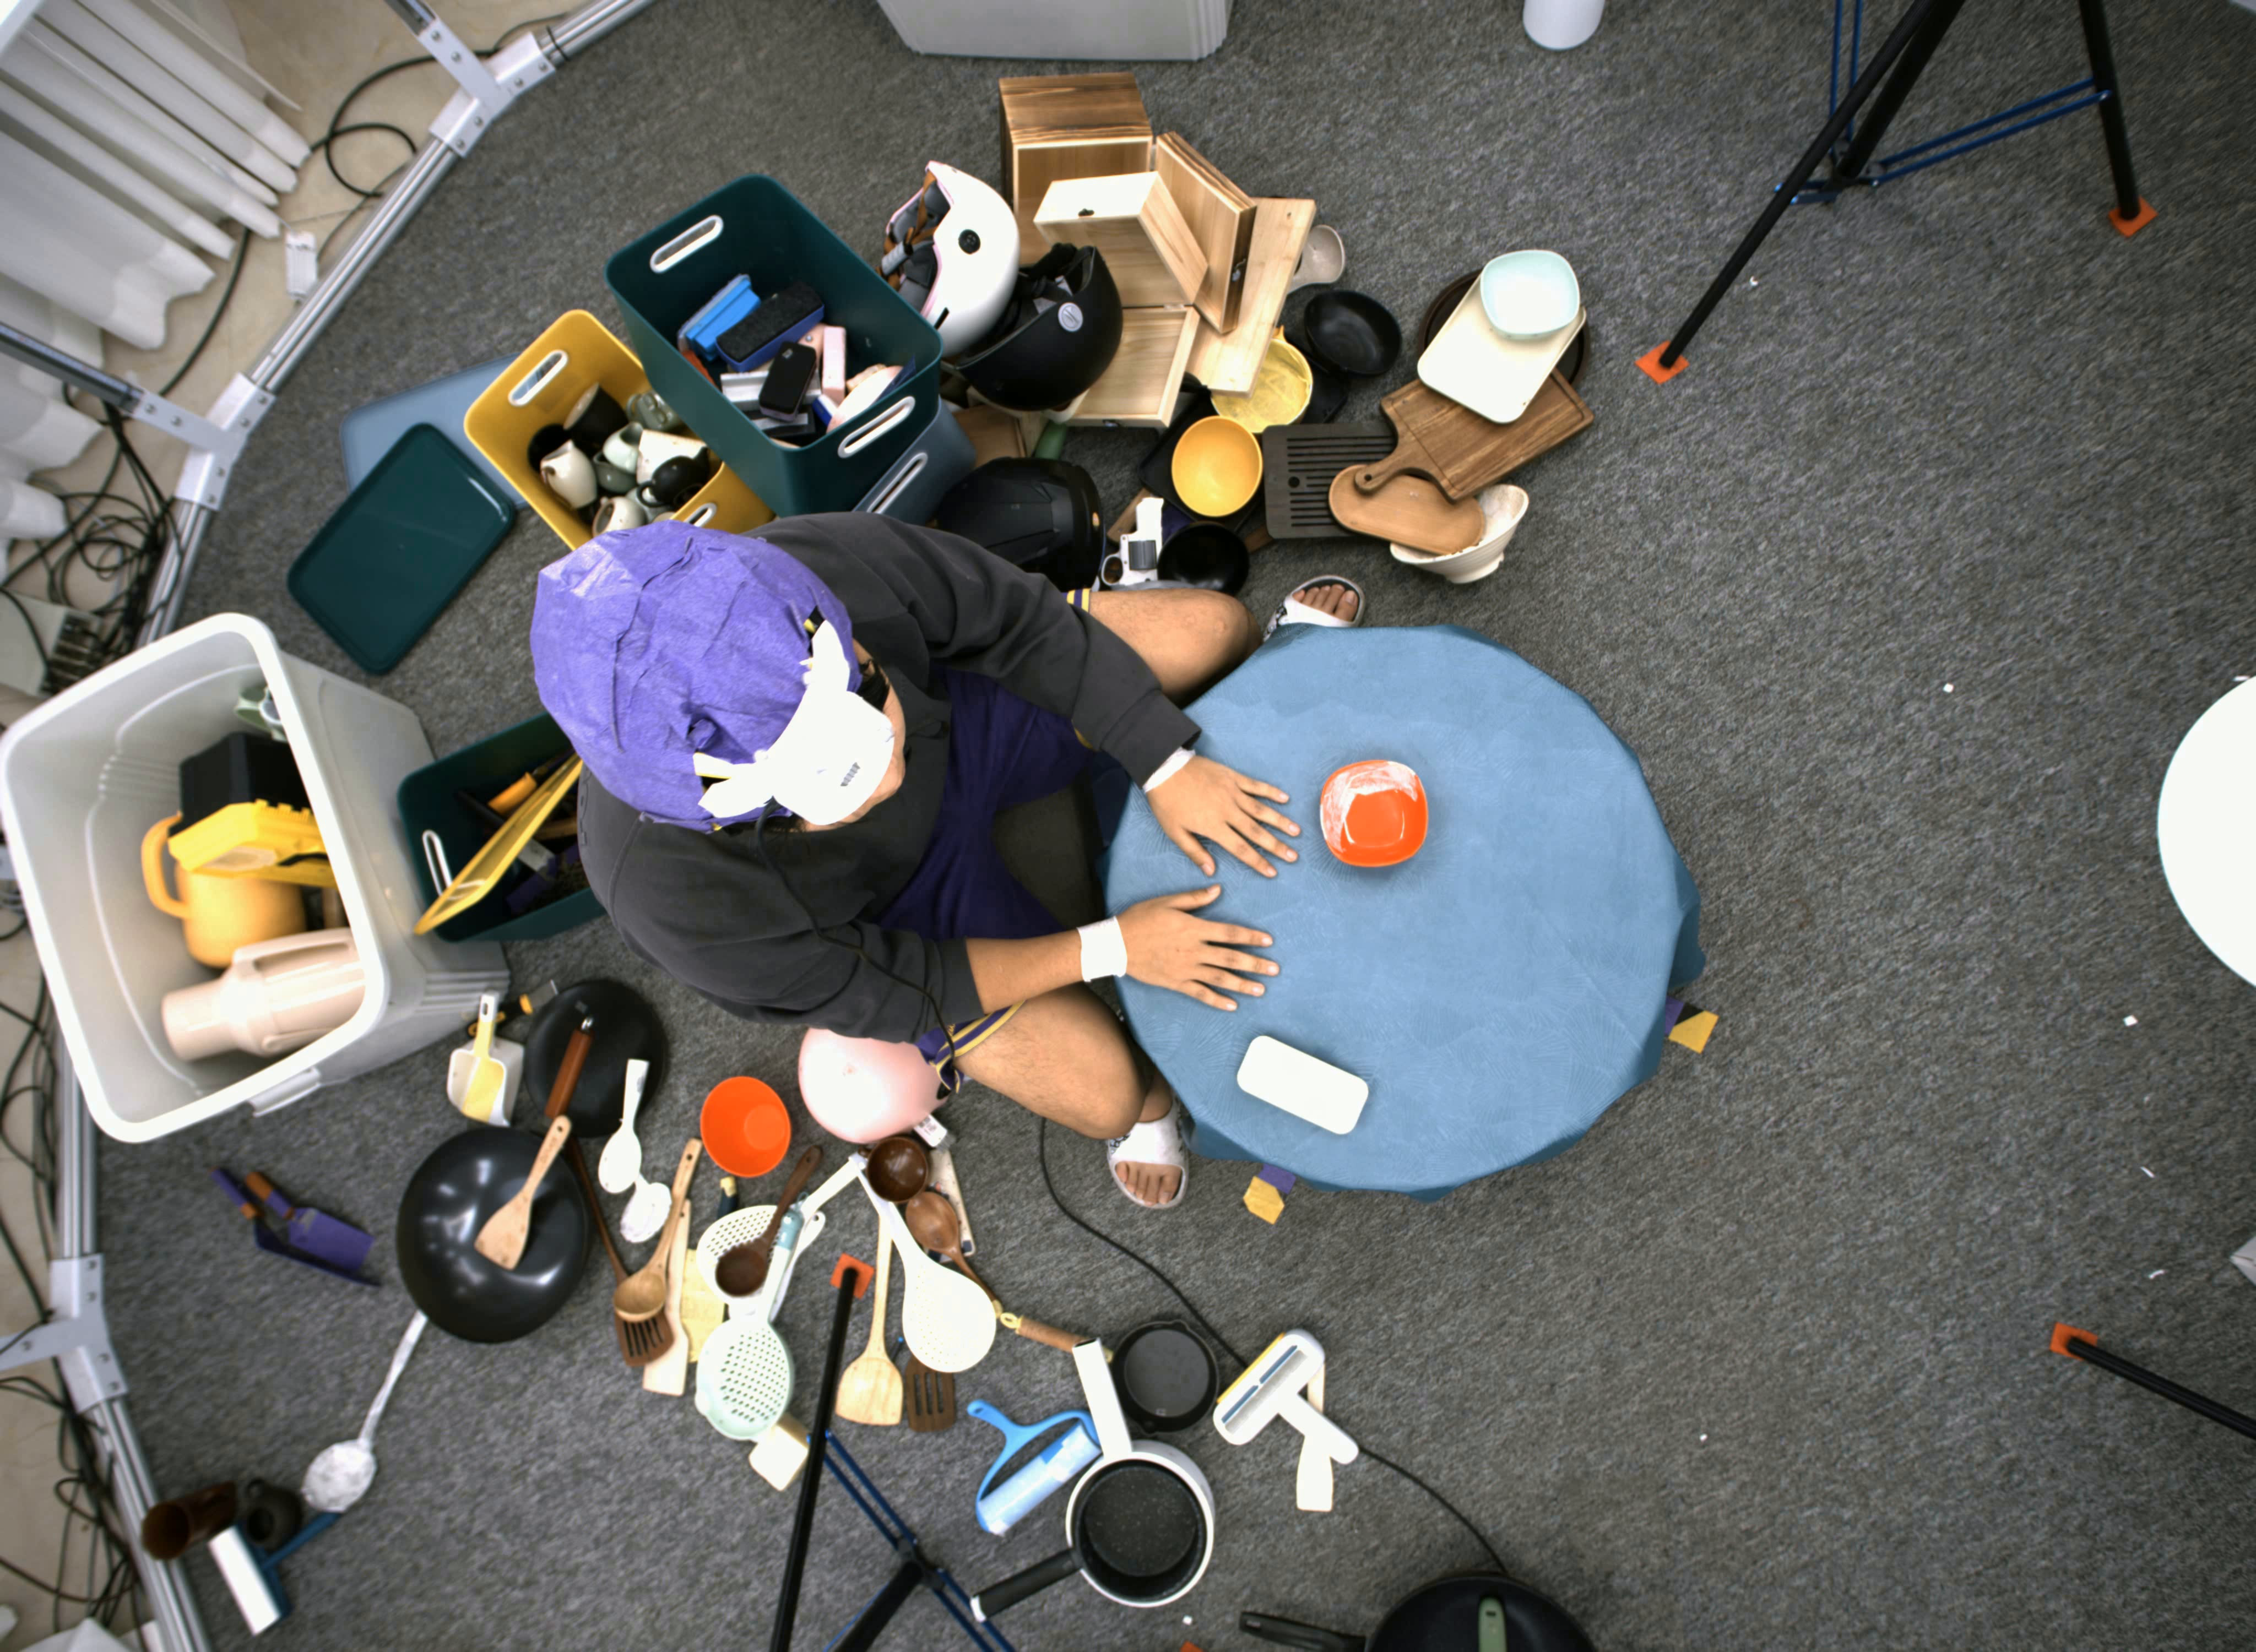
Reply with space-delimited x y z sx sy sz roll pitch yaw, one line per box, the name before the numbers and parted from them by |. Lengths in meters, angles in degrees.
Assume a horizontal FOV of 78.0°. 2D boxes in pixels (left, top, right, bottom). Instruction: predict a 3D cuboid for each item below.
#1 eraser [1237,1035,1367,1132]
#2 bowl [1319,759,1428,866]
eraser | 0.182 0.266 1.448 0.131 0.034 0.063 25 89 9
bowl | 0.256 -0.013 1.441 0.119 0.051 0.118 -1 87 11
